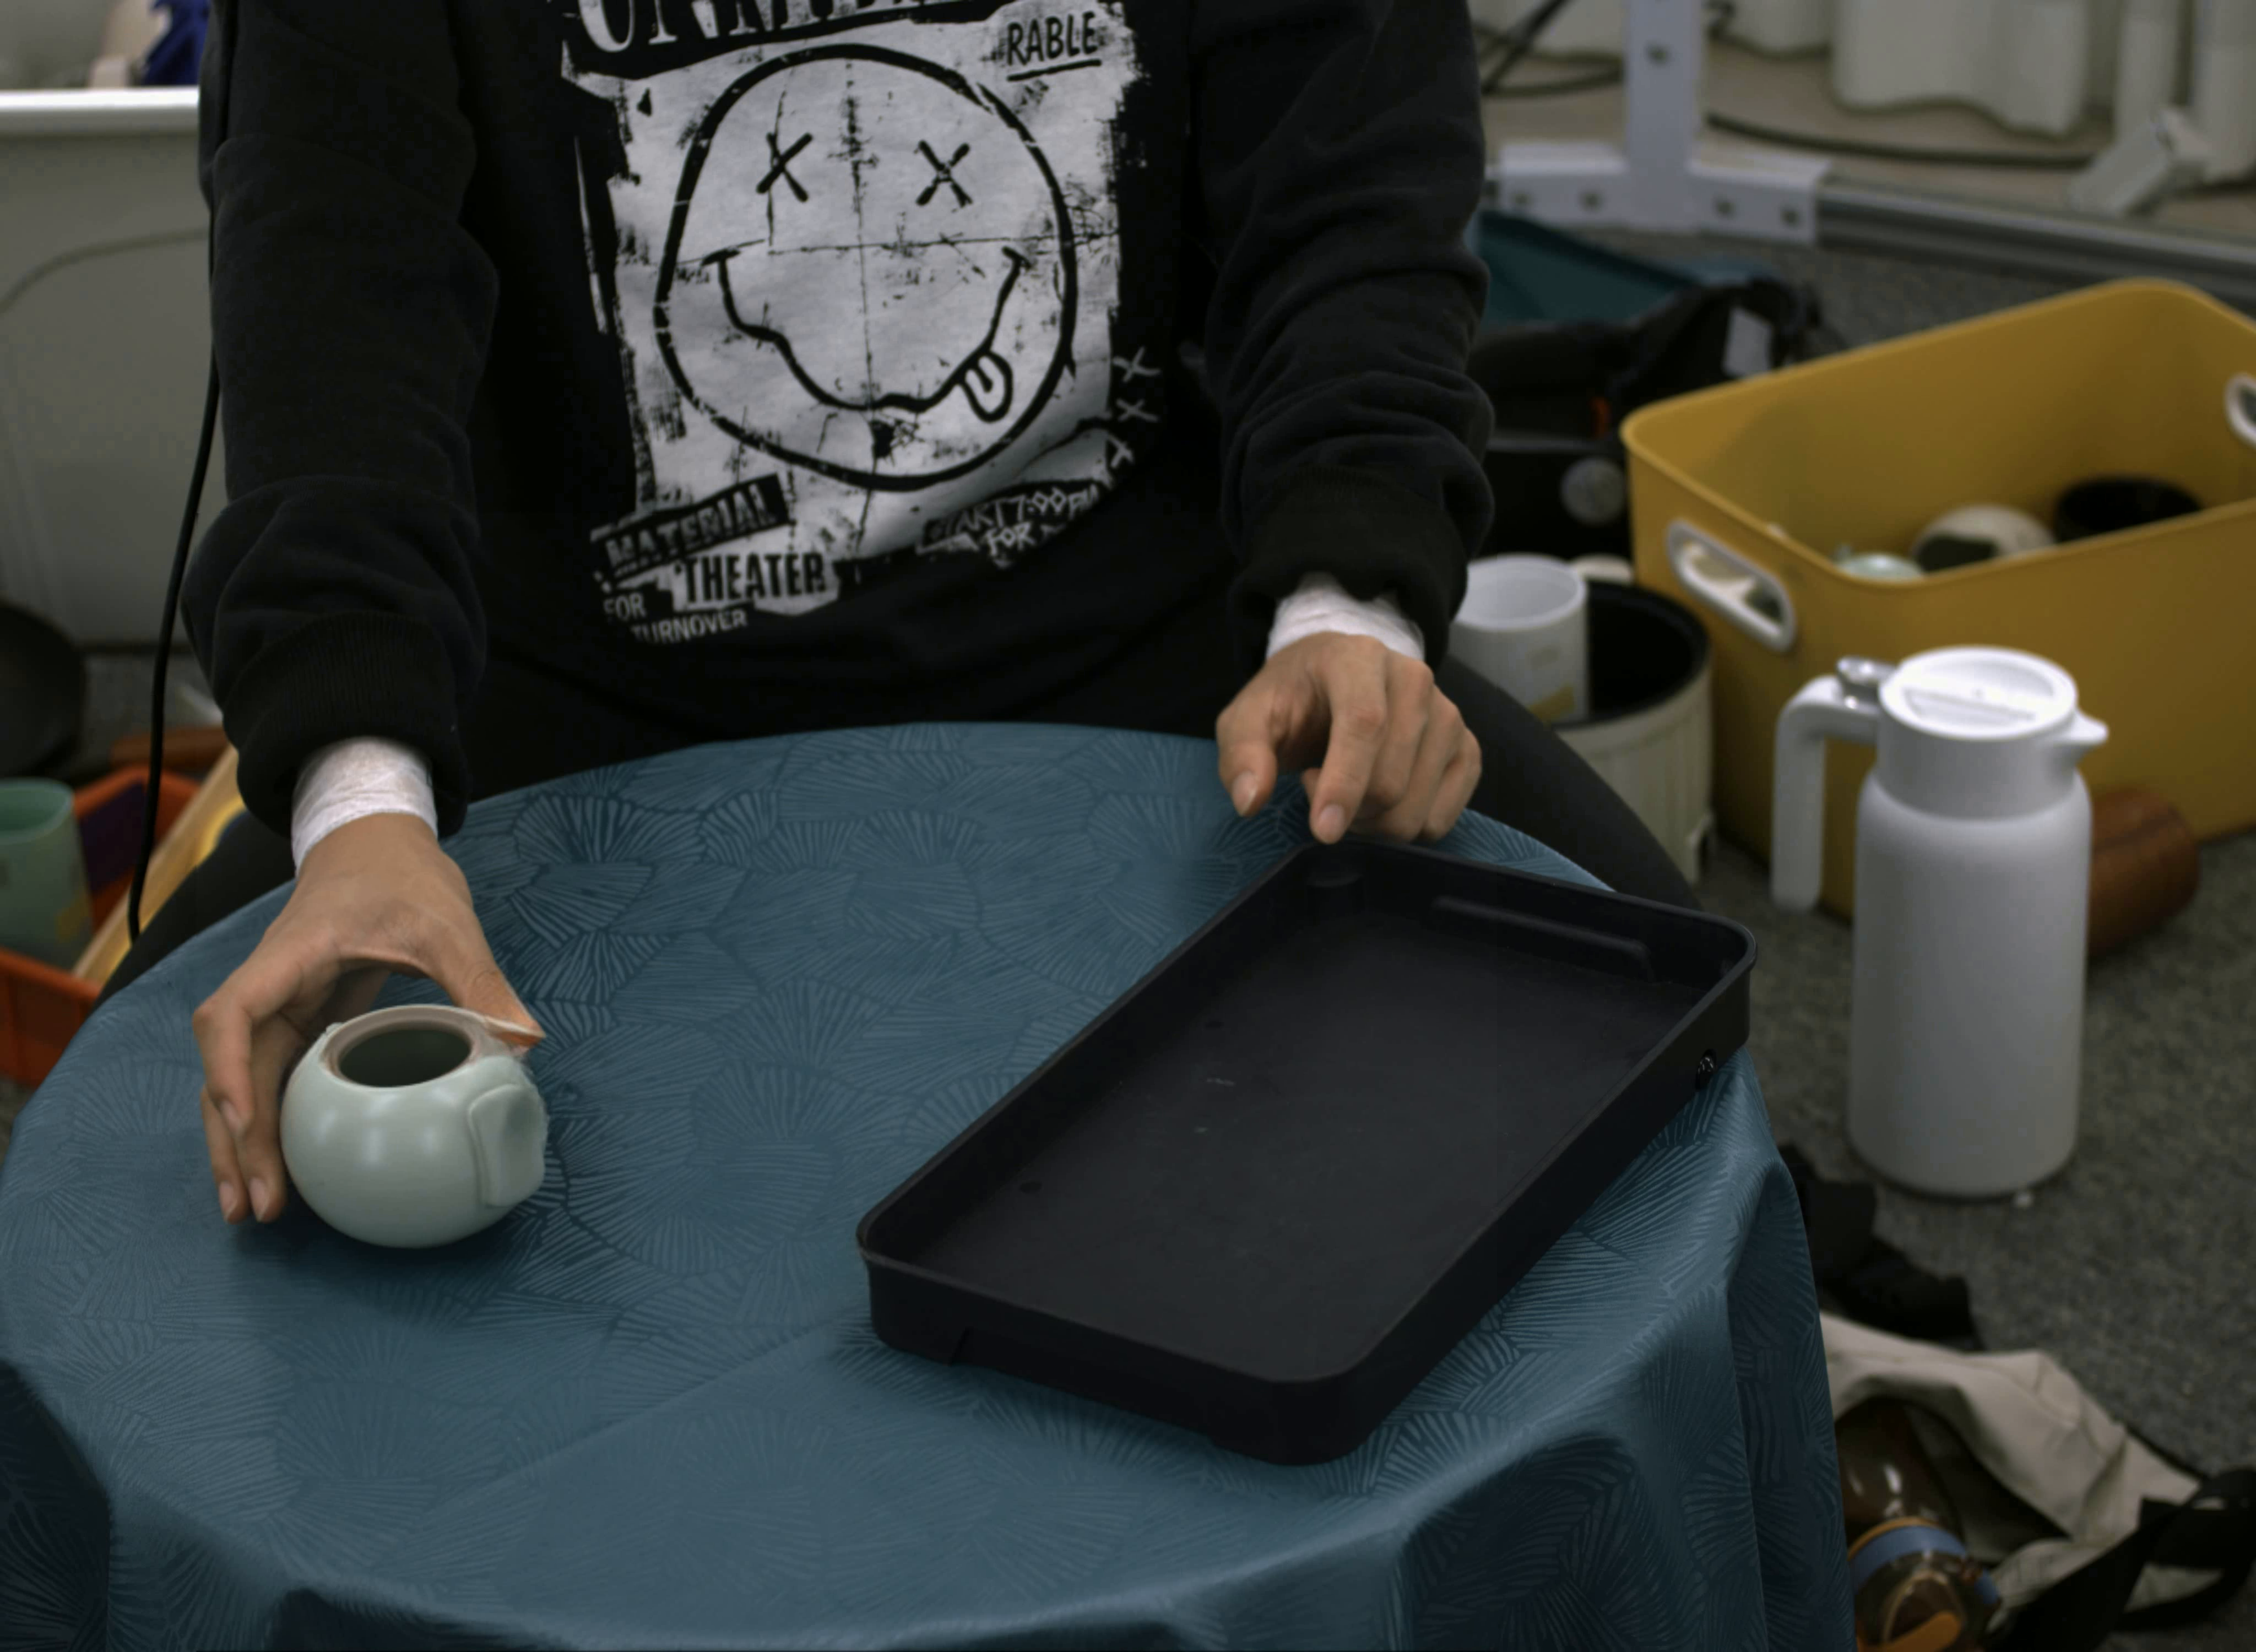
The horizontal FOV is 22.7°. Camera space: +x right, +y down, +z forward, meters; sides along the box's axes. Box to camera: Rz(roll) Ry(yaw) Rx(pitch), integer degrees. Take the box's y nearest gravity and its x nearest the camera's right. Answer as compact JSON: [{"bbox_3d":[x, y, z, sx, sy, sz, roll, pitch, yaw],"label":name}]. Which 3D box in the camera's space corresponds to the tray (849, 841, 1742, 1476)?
[{"bbox_3d":[0.061,0.102,1.852,0.183,0.036,0.323,12,31,27],"label":"tray"}]

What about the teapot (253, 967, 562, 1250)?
[{"bbox_3d":[-0.235,0.098,1.849,0.143,0.074,0.089,21,36,37],"label":"teapot"}]
